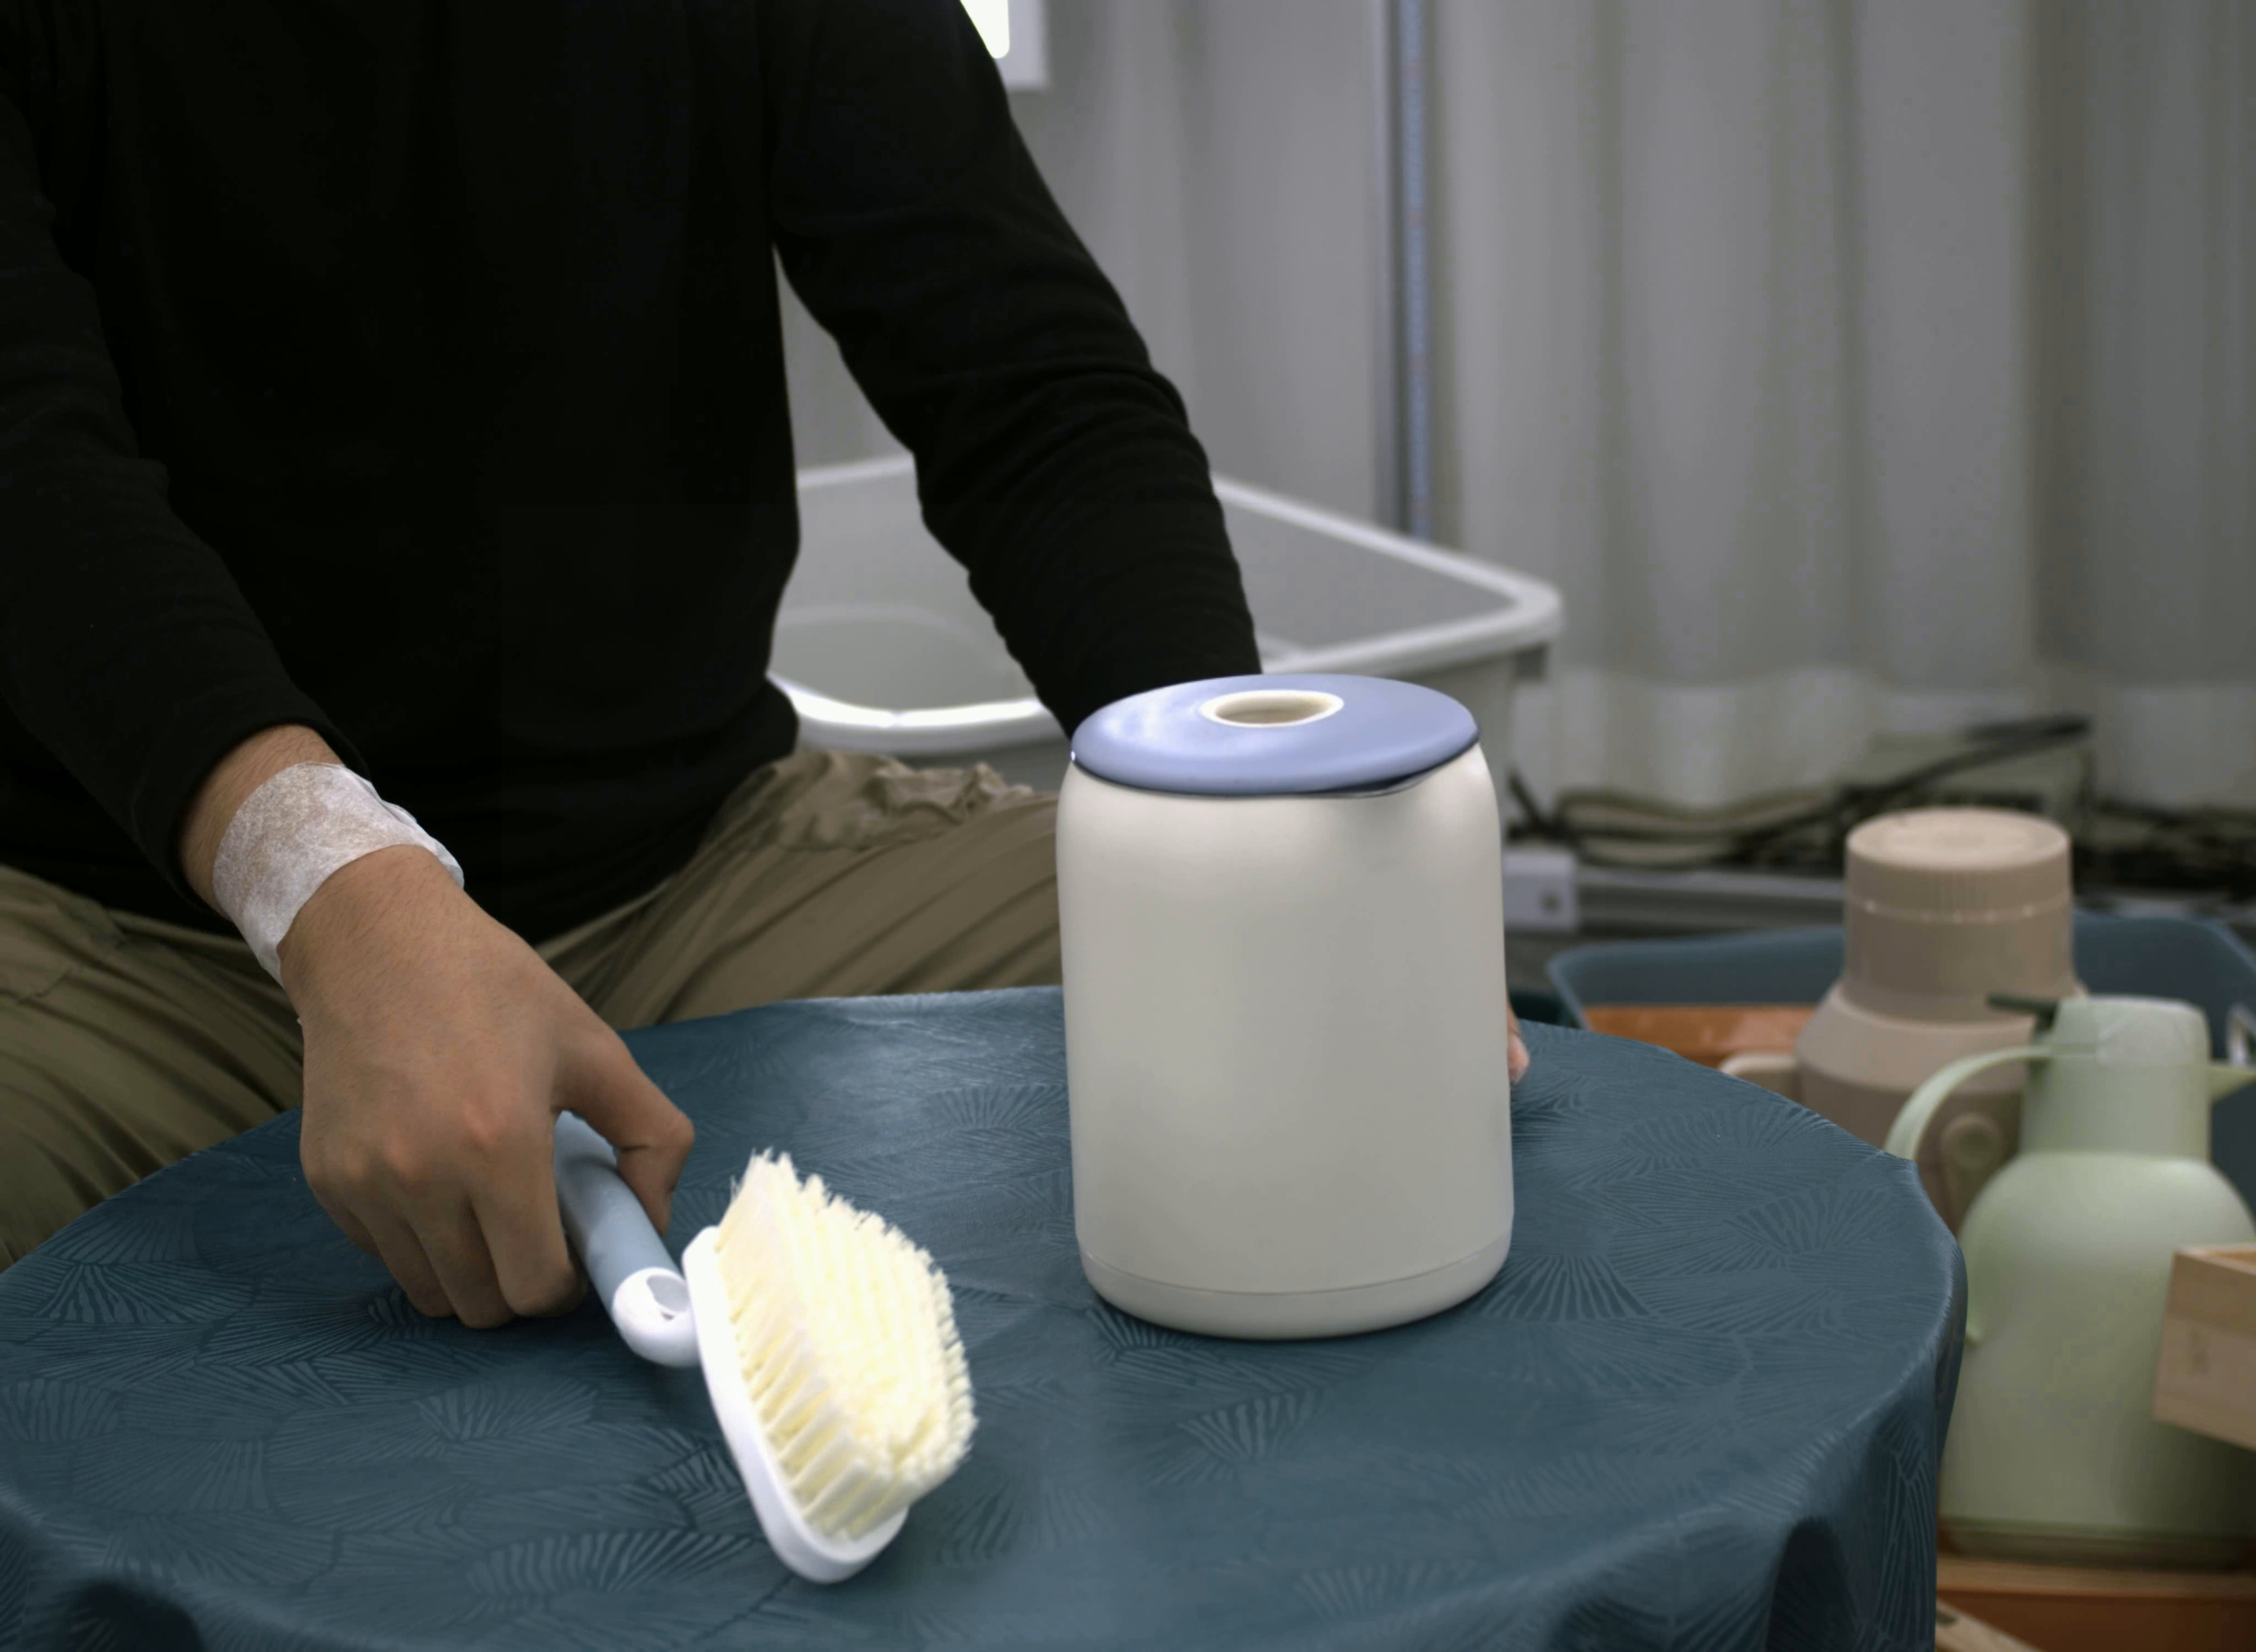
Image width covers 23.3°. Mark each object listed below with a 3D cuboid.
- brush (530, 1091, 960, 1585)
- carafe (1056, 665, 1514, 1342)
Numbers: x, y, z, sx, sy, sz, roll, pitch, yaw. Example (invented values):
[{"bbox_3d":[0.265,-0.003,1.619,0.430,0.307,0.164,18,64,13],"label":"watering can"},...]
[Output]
[{"bbox_3d":[-0.111,0.113,1.554,0.084,0.082,0.328,-17,22,-11],"label":"brush"},{"bbox_3d":[0.035,0.046,1.633,0.131,0.182,0.192,-10,15,-27],"label":"carafe"}]
